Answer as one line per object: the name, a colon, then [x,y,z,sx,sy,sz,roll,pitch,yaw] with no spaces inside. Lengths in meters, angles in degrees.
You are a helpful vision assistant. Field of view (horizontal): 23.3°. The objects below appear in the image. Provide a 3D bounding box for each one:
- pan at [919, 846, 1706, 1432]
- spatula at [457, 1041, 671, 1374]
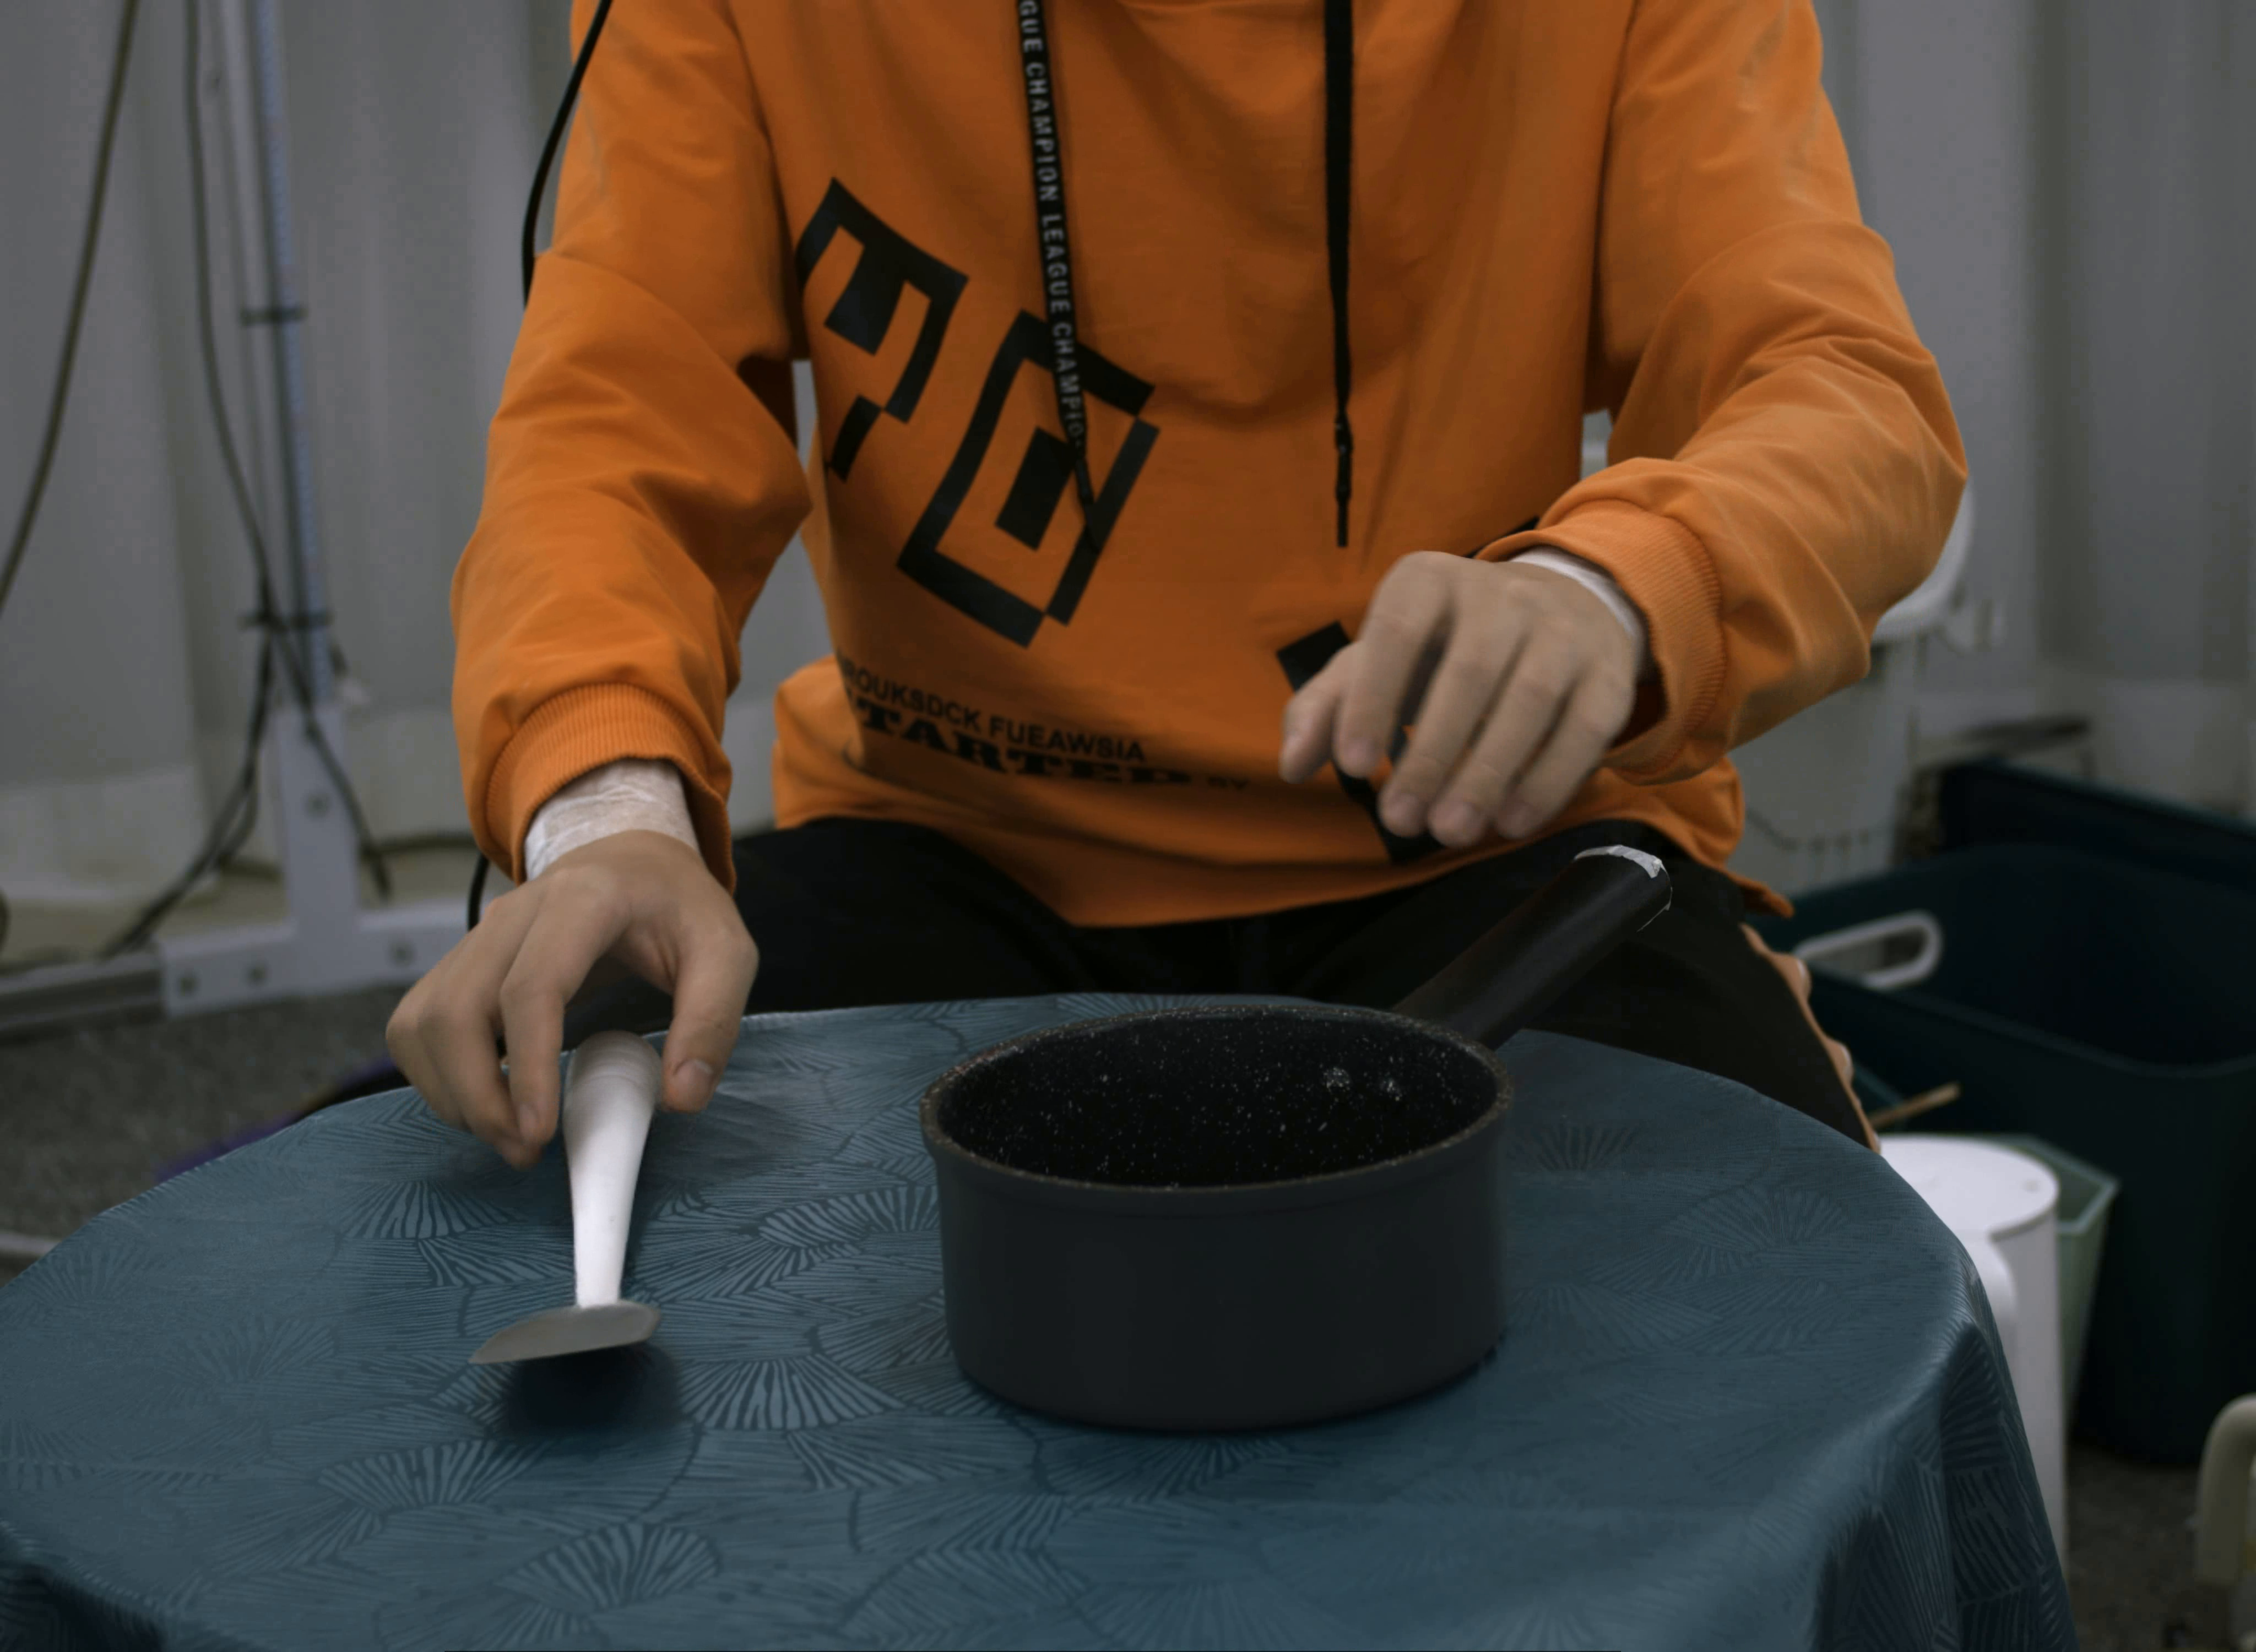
pan: [0.074,0.089,1.633,0.173,0.086,0.329,9,21,36]
spatula: [-0.164,0.121,1.663,0.058,0.032,0.289,-5,14,-1]
